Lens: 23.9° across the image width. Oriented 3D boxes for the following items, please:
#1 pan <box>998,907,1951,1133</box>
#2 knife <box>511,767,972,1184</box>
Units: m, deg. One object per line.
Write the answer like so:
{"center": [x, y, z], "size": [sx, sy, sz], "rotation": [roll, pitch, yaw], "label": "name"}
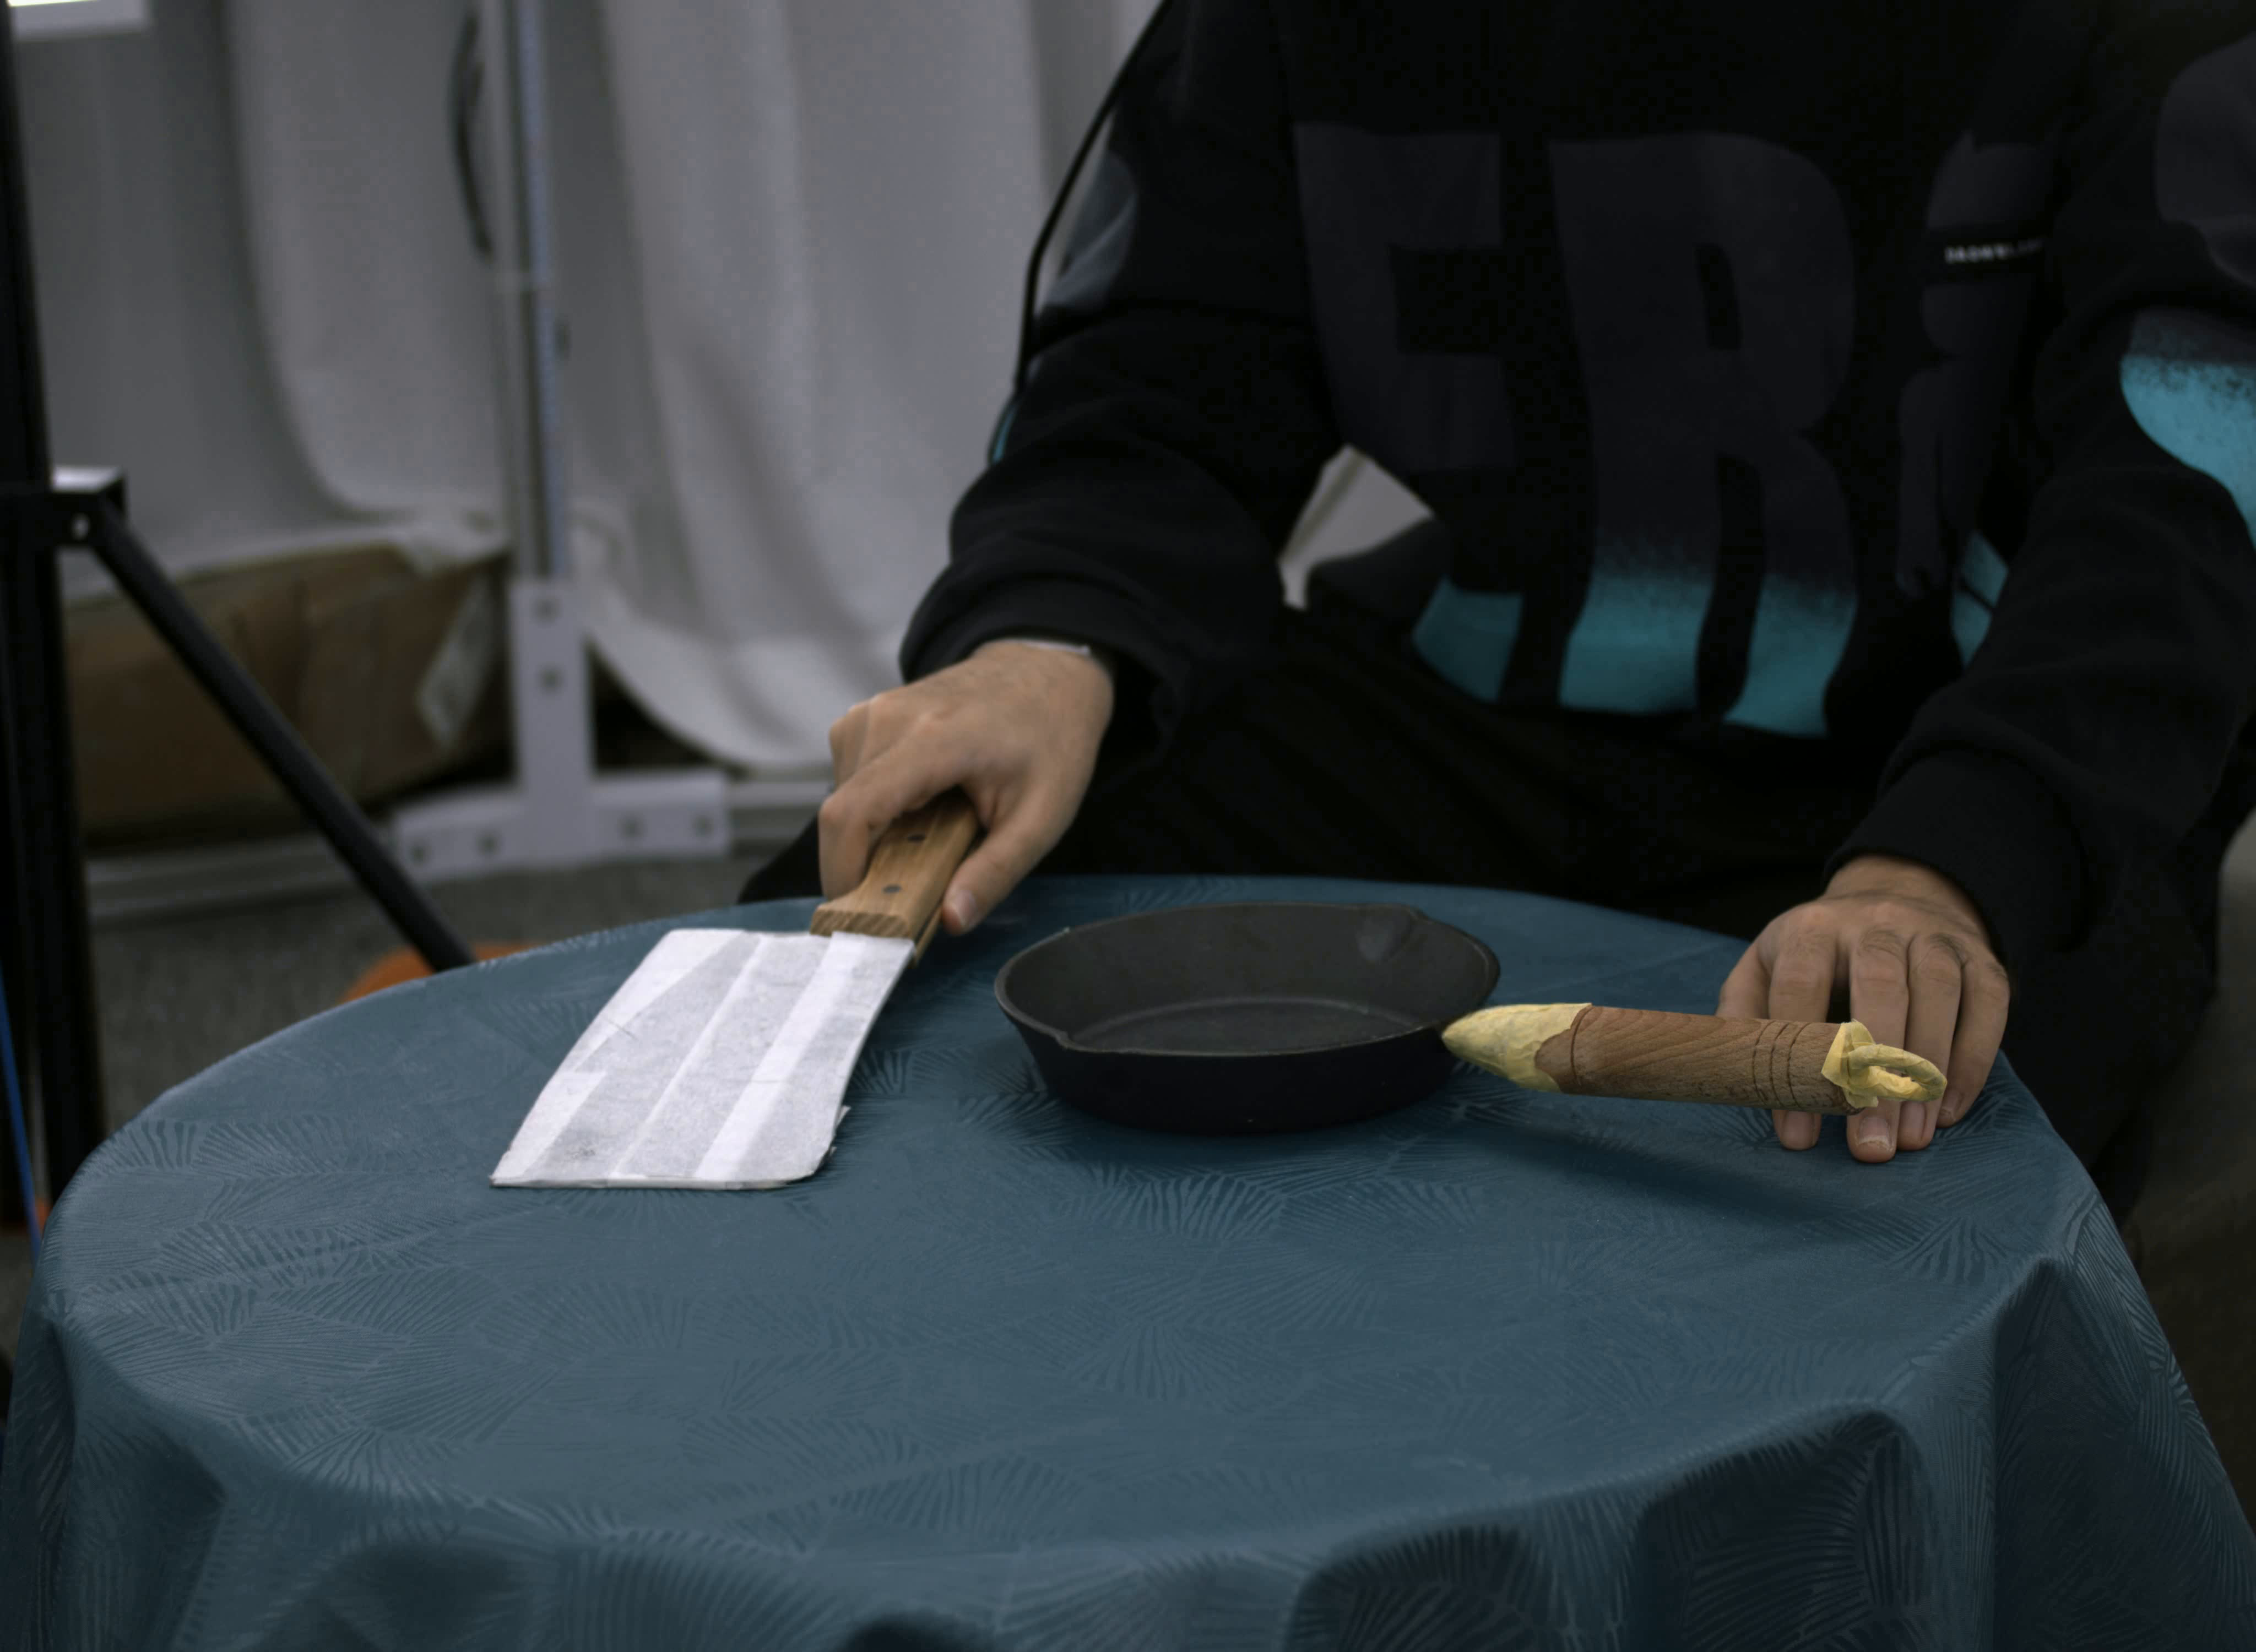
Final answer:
{"center": [0.103, 0.066, 1.598], "size": [0.331, 0.049, 0.165], "rotation": [9, 19, 40], "label": "pan"}
{"center": [-0.107, 0.048, 1.715], "size": [0.115, 0.021, 0.313], "rotation": [2, 23, 16], "label": "knife"}
